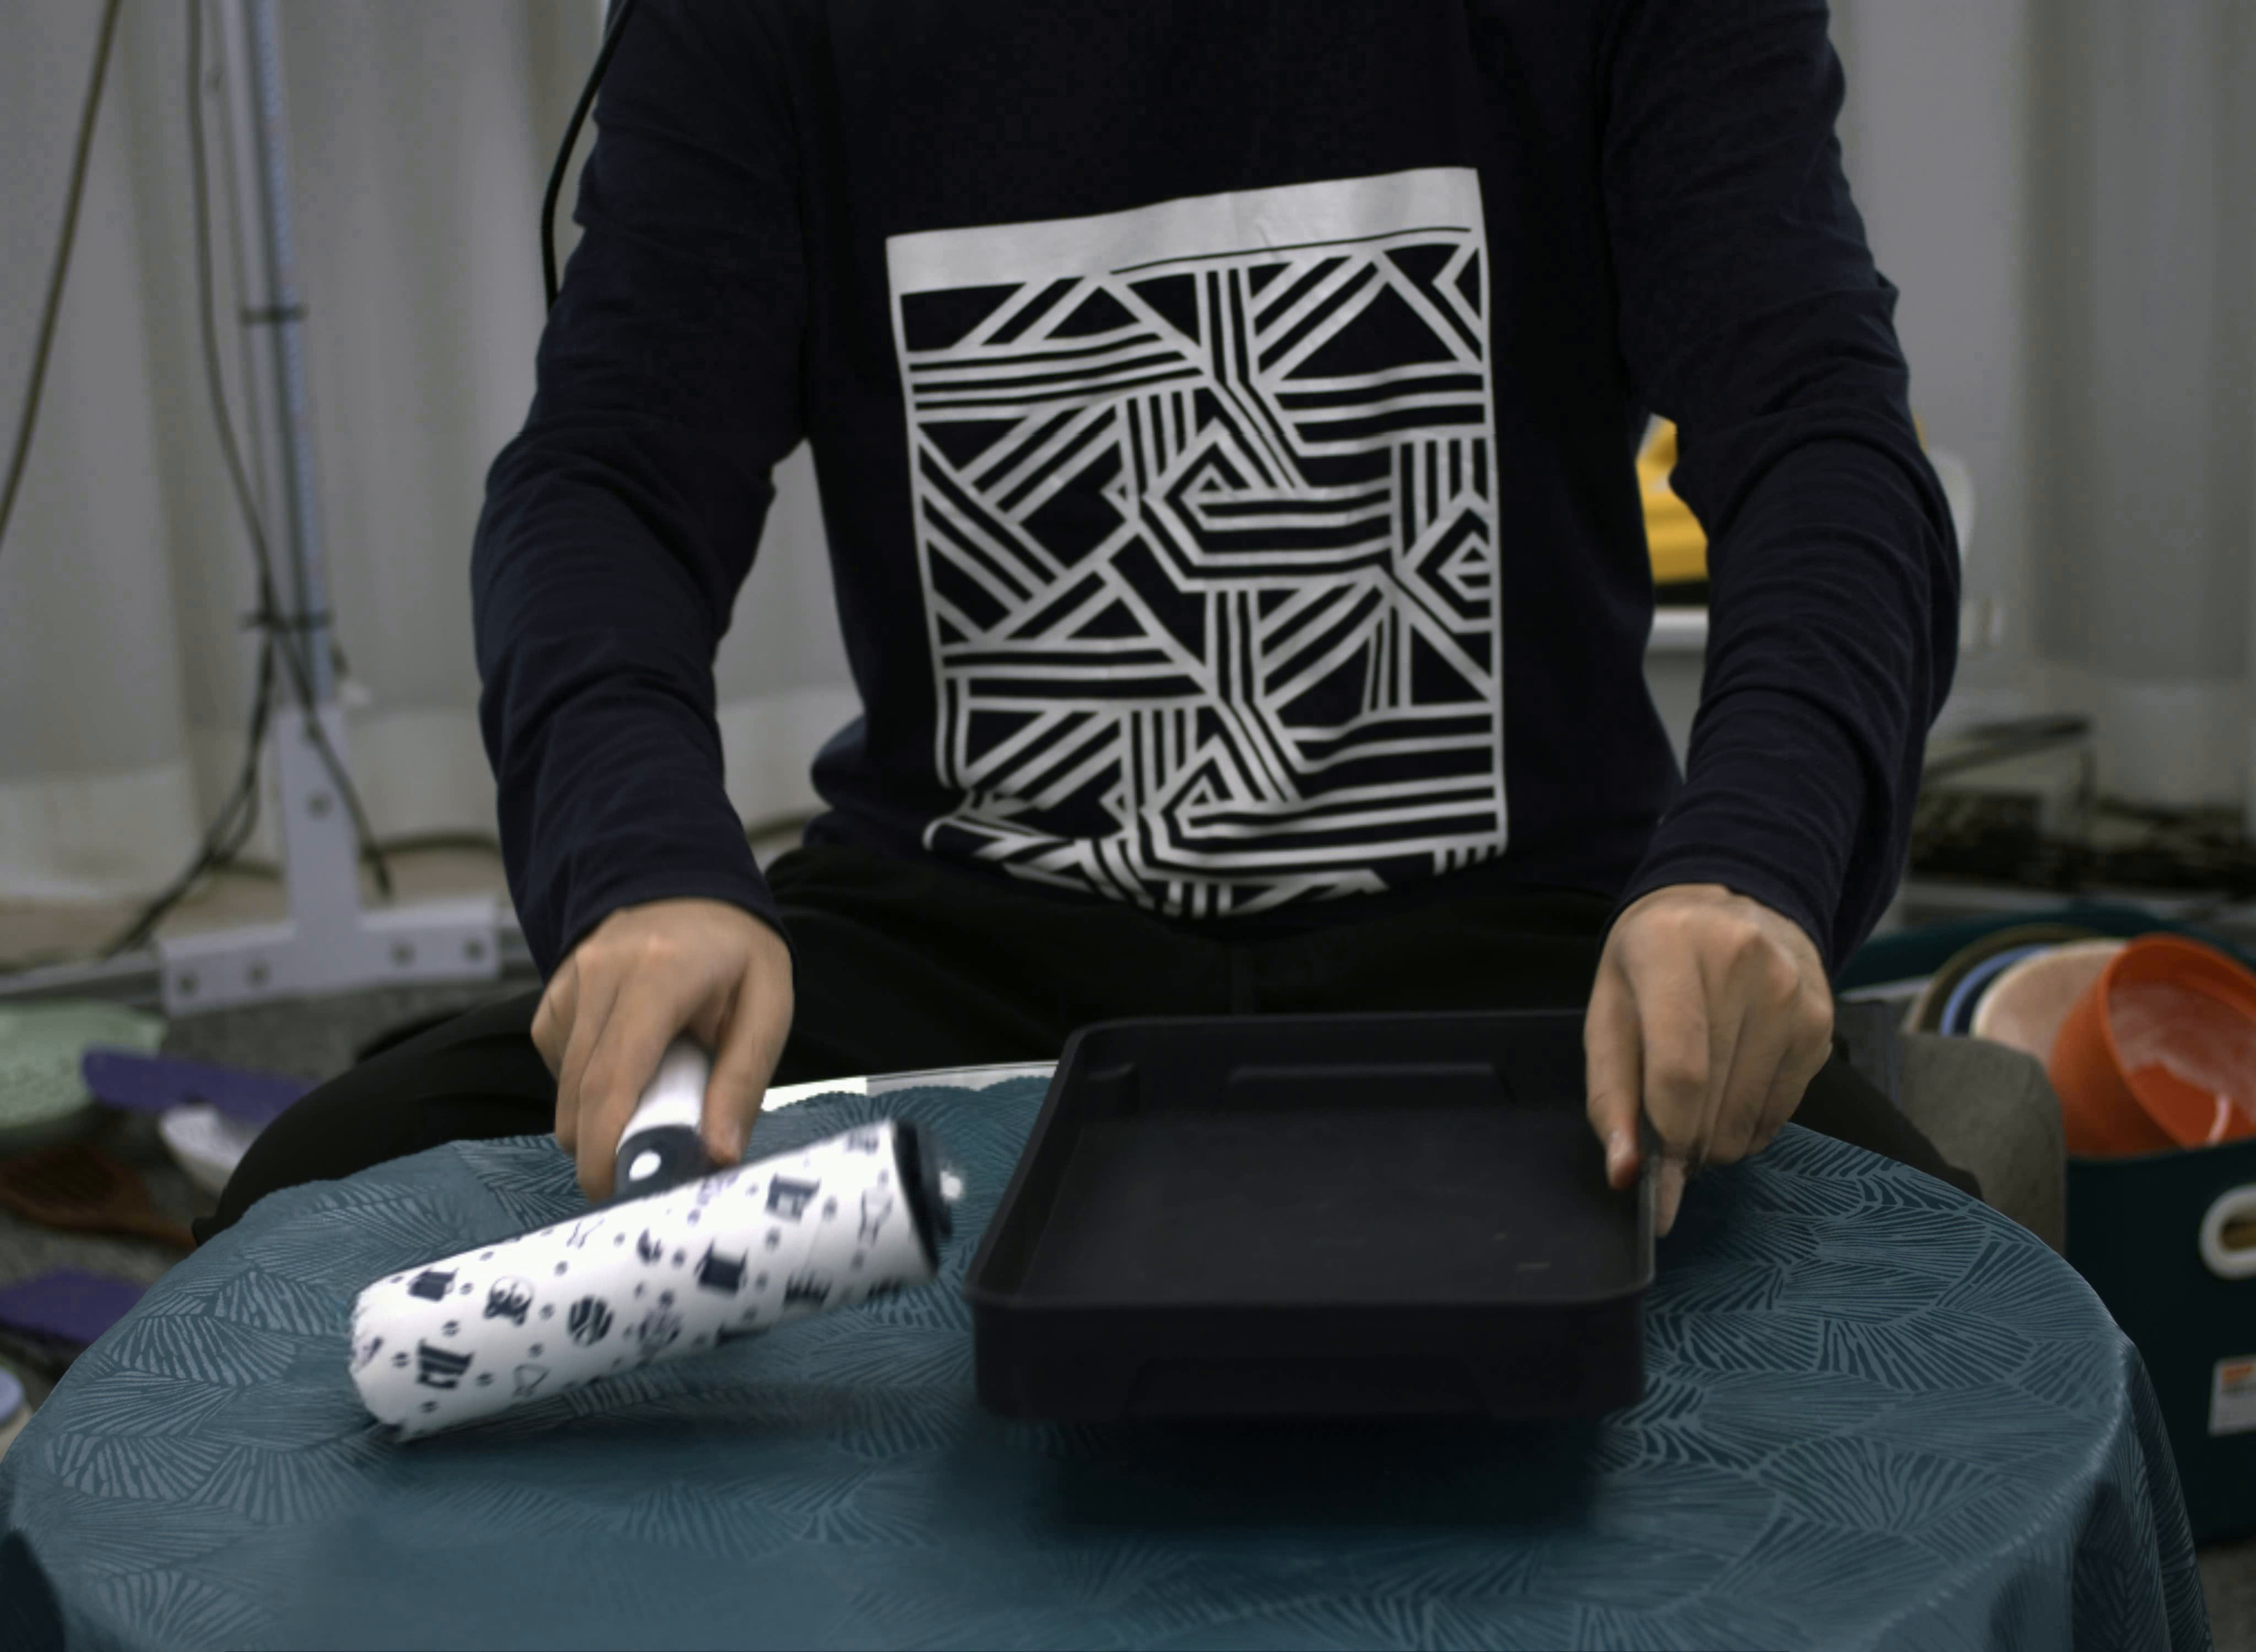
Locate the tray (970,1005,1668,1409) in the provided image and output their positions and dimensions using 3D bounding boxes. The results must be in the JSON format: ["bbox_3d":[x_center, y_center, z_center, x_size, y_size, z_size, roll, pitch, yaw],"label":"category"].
[{"bbox_3d":[0.062,0.104,1.568,0.184,0.037,0.319,0,11,6],"label":"tray"}]

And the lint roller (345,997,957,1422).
[{"bbox_3d":[-0.140,0.092,1.630,0.176,0.050,0.249,-20,17,2],"label":"lint roller"}]
